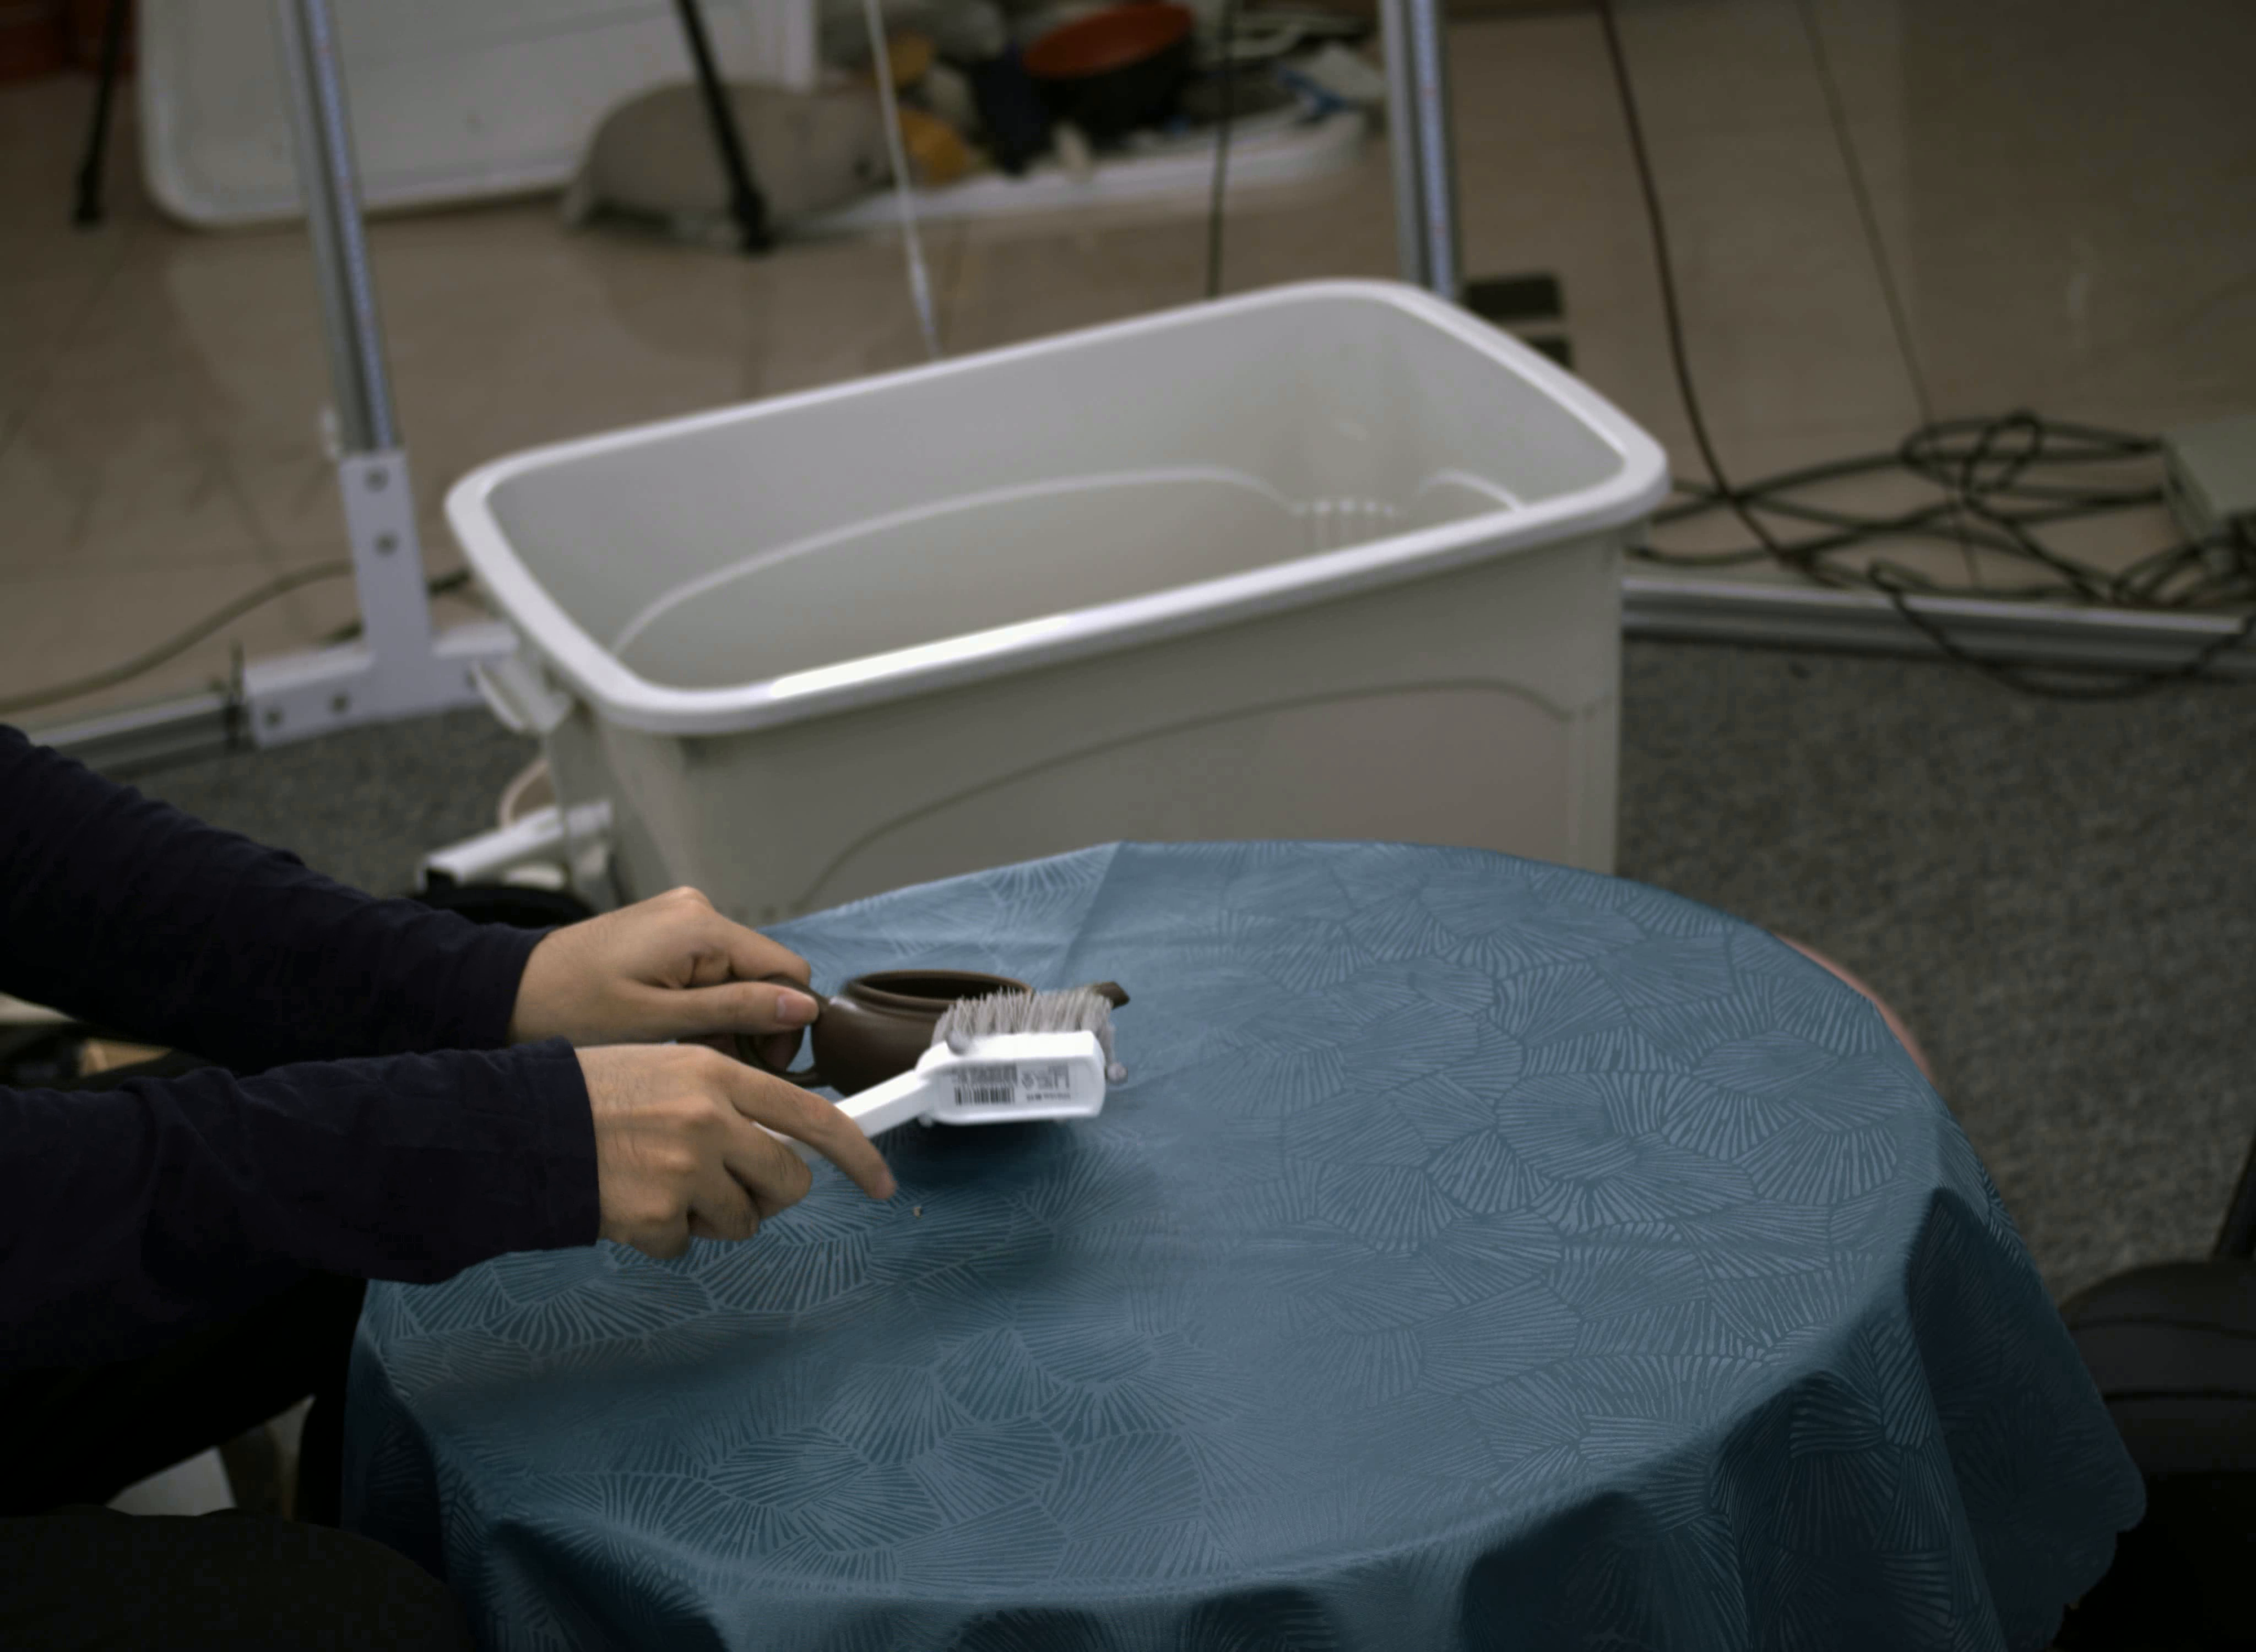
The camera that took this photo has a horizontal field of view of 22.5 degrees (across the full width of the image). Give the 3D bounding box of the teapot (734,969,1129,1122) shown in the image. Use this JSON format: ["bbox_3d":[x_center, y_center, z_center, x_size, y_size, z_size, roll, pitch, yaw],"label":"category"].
[{"bbox_3d":[-0.077,0.084,2.202,0.153,0.054,0.102,3,10,-12],"label":"teapot"}]

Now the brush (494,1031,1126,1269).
[{"bbox_3d":[-0.116,0.117,2.086,0.243,0.035,0.049,-11,39,-10],"label":"brush"}]
